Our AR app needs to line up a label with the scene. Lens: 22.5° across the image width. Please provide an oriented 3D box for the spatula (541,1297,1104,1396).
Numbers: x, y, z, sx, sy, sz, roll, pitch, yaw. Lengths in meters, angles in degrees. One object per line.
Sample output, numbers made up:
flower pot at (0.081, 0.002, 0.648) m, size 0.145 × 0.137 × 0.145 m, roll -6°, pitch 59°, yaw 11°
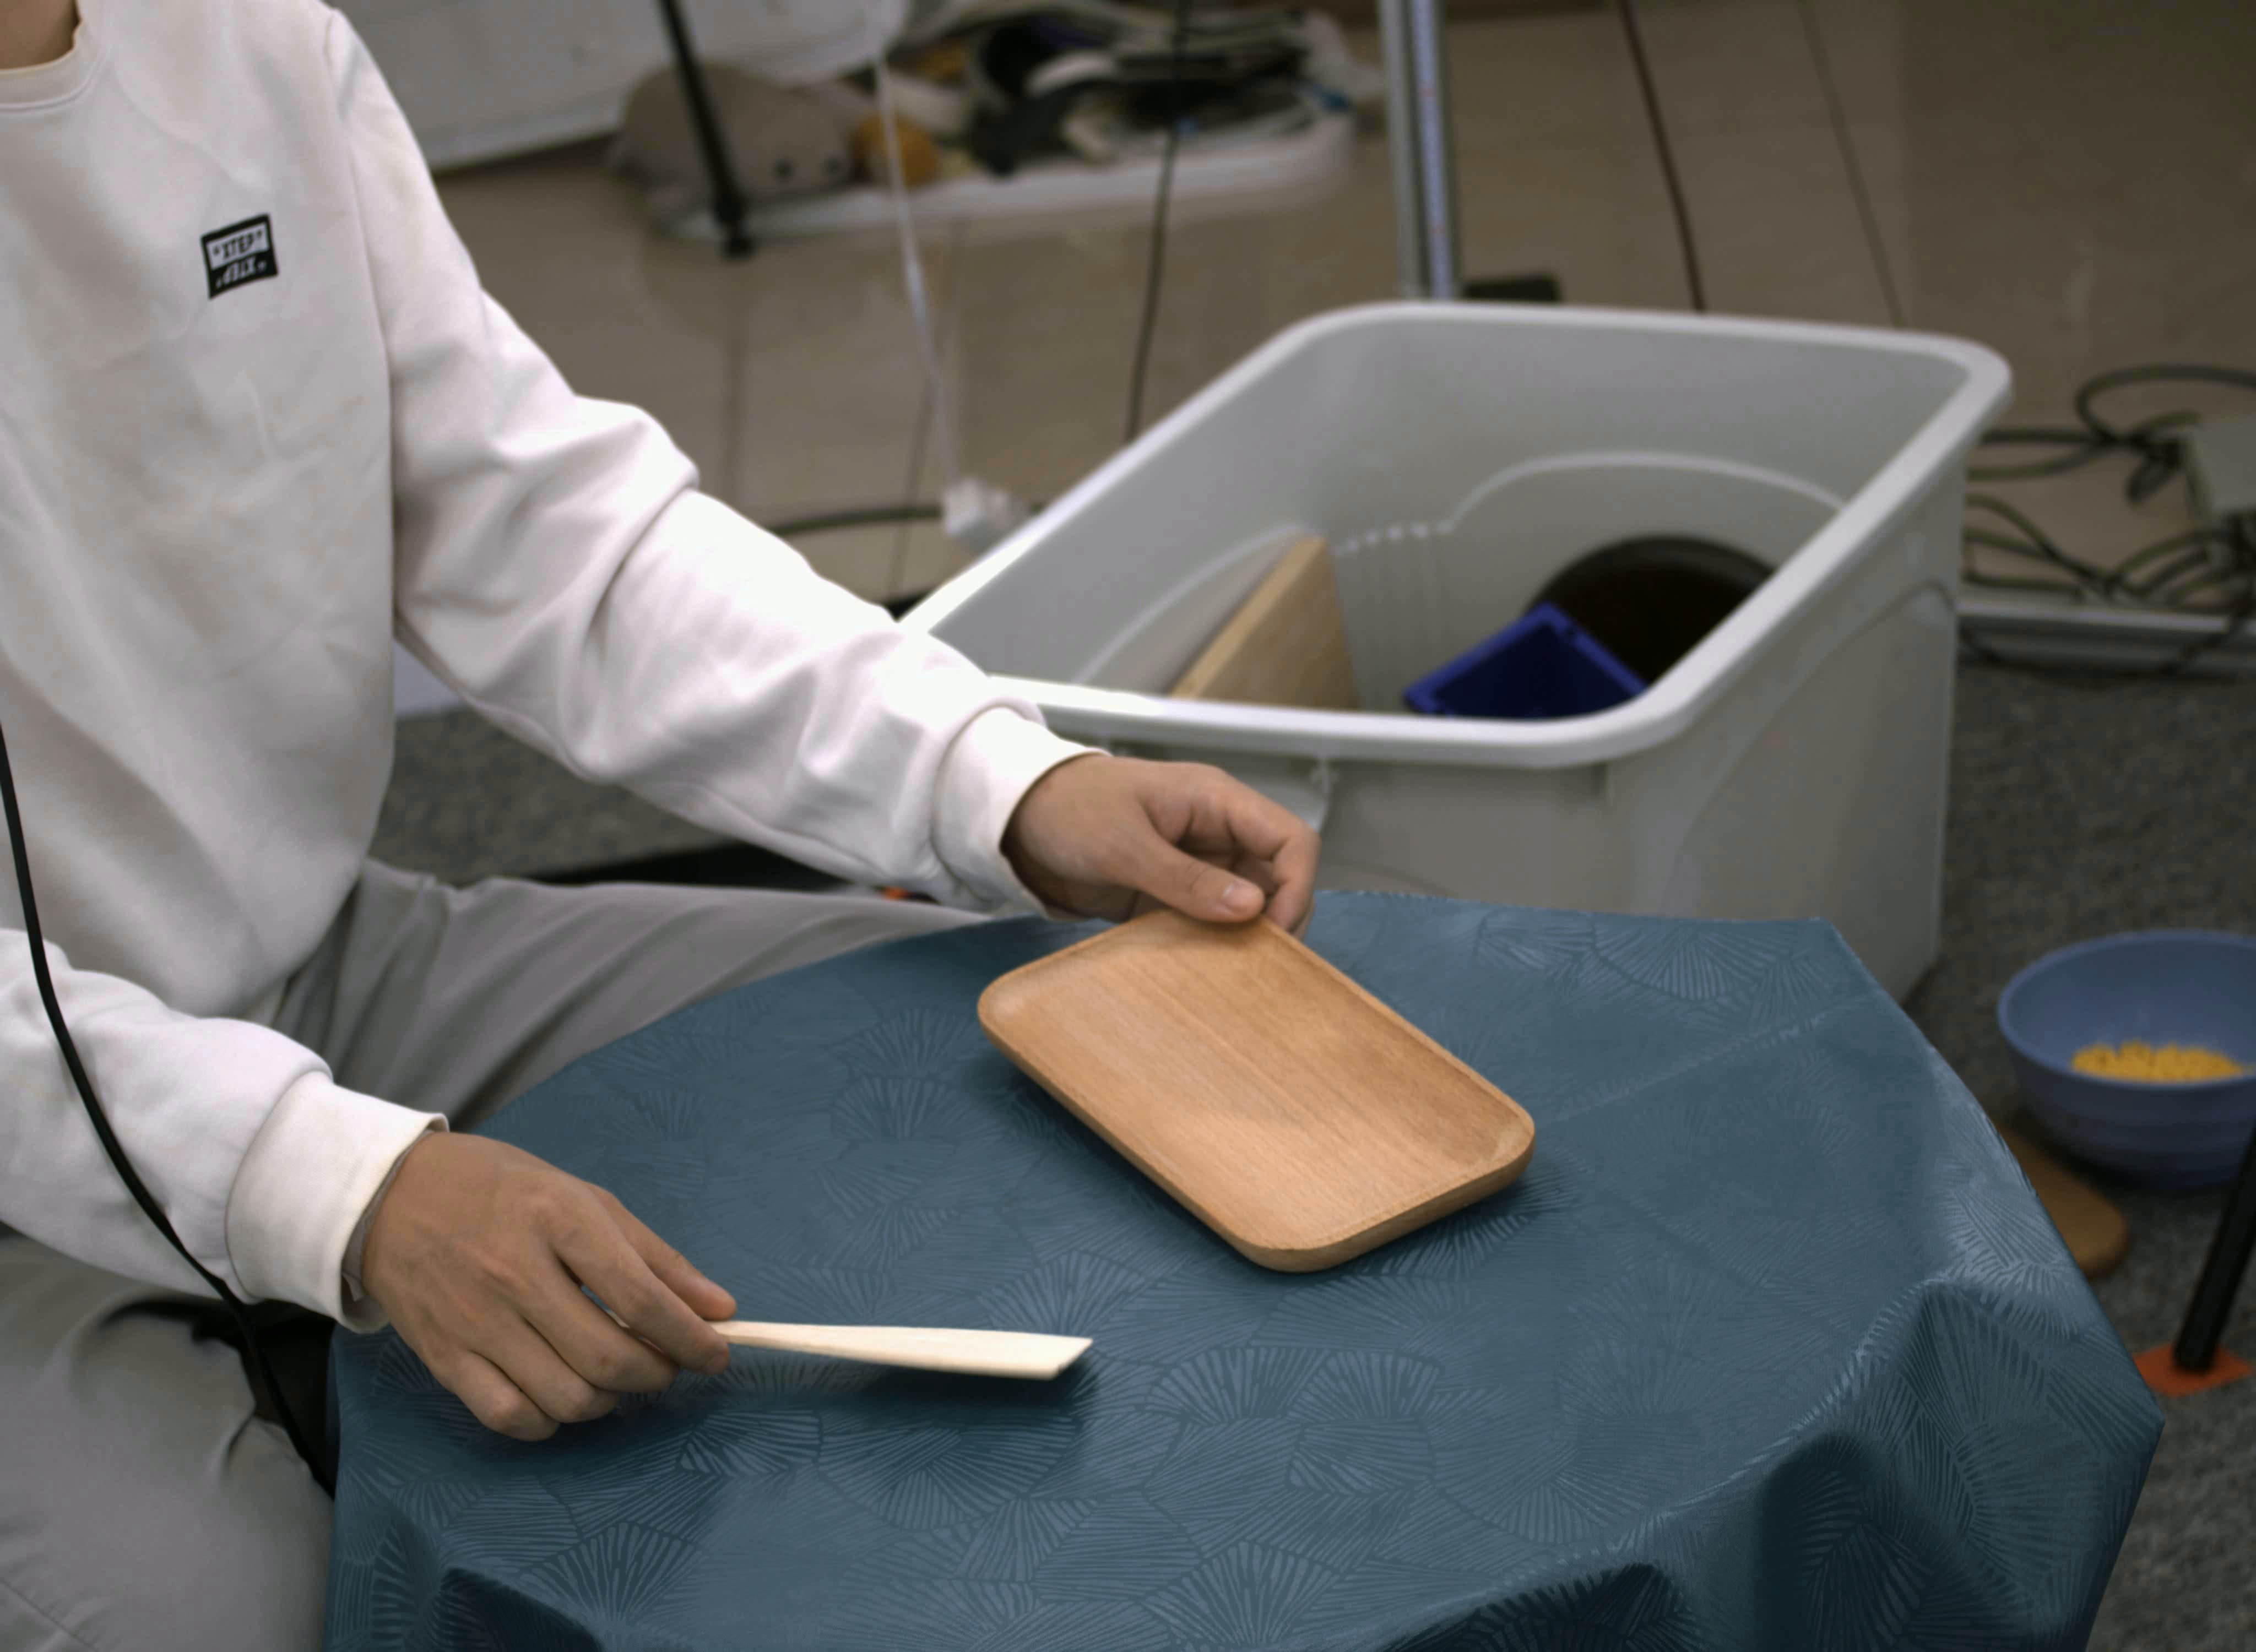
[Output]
spatula at (-0.113, 0.184, 2.039) m, size 0.207 × 0.005 × 0.050 m, roll 6°, pitch 14°, yaw 15°

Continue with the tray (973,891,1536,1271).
tray at (0.046, 0.096, 2.179) m, size 0.130 × 0.023 × 0.247 m, roll -20°, pitch 32°, yaw -23°
